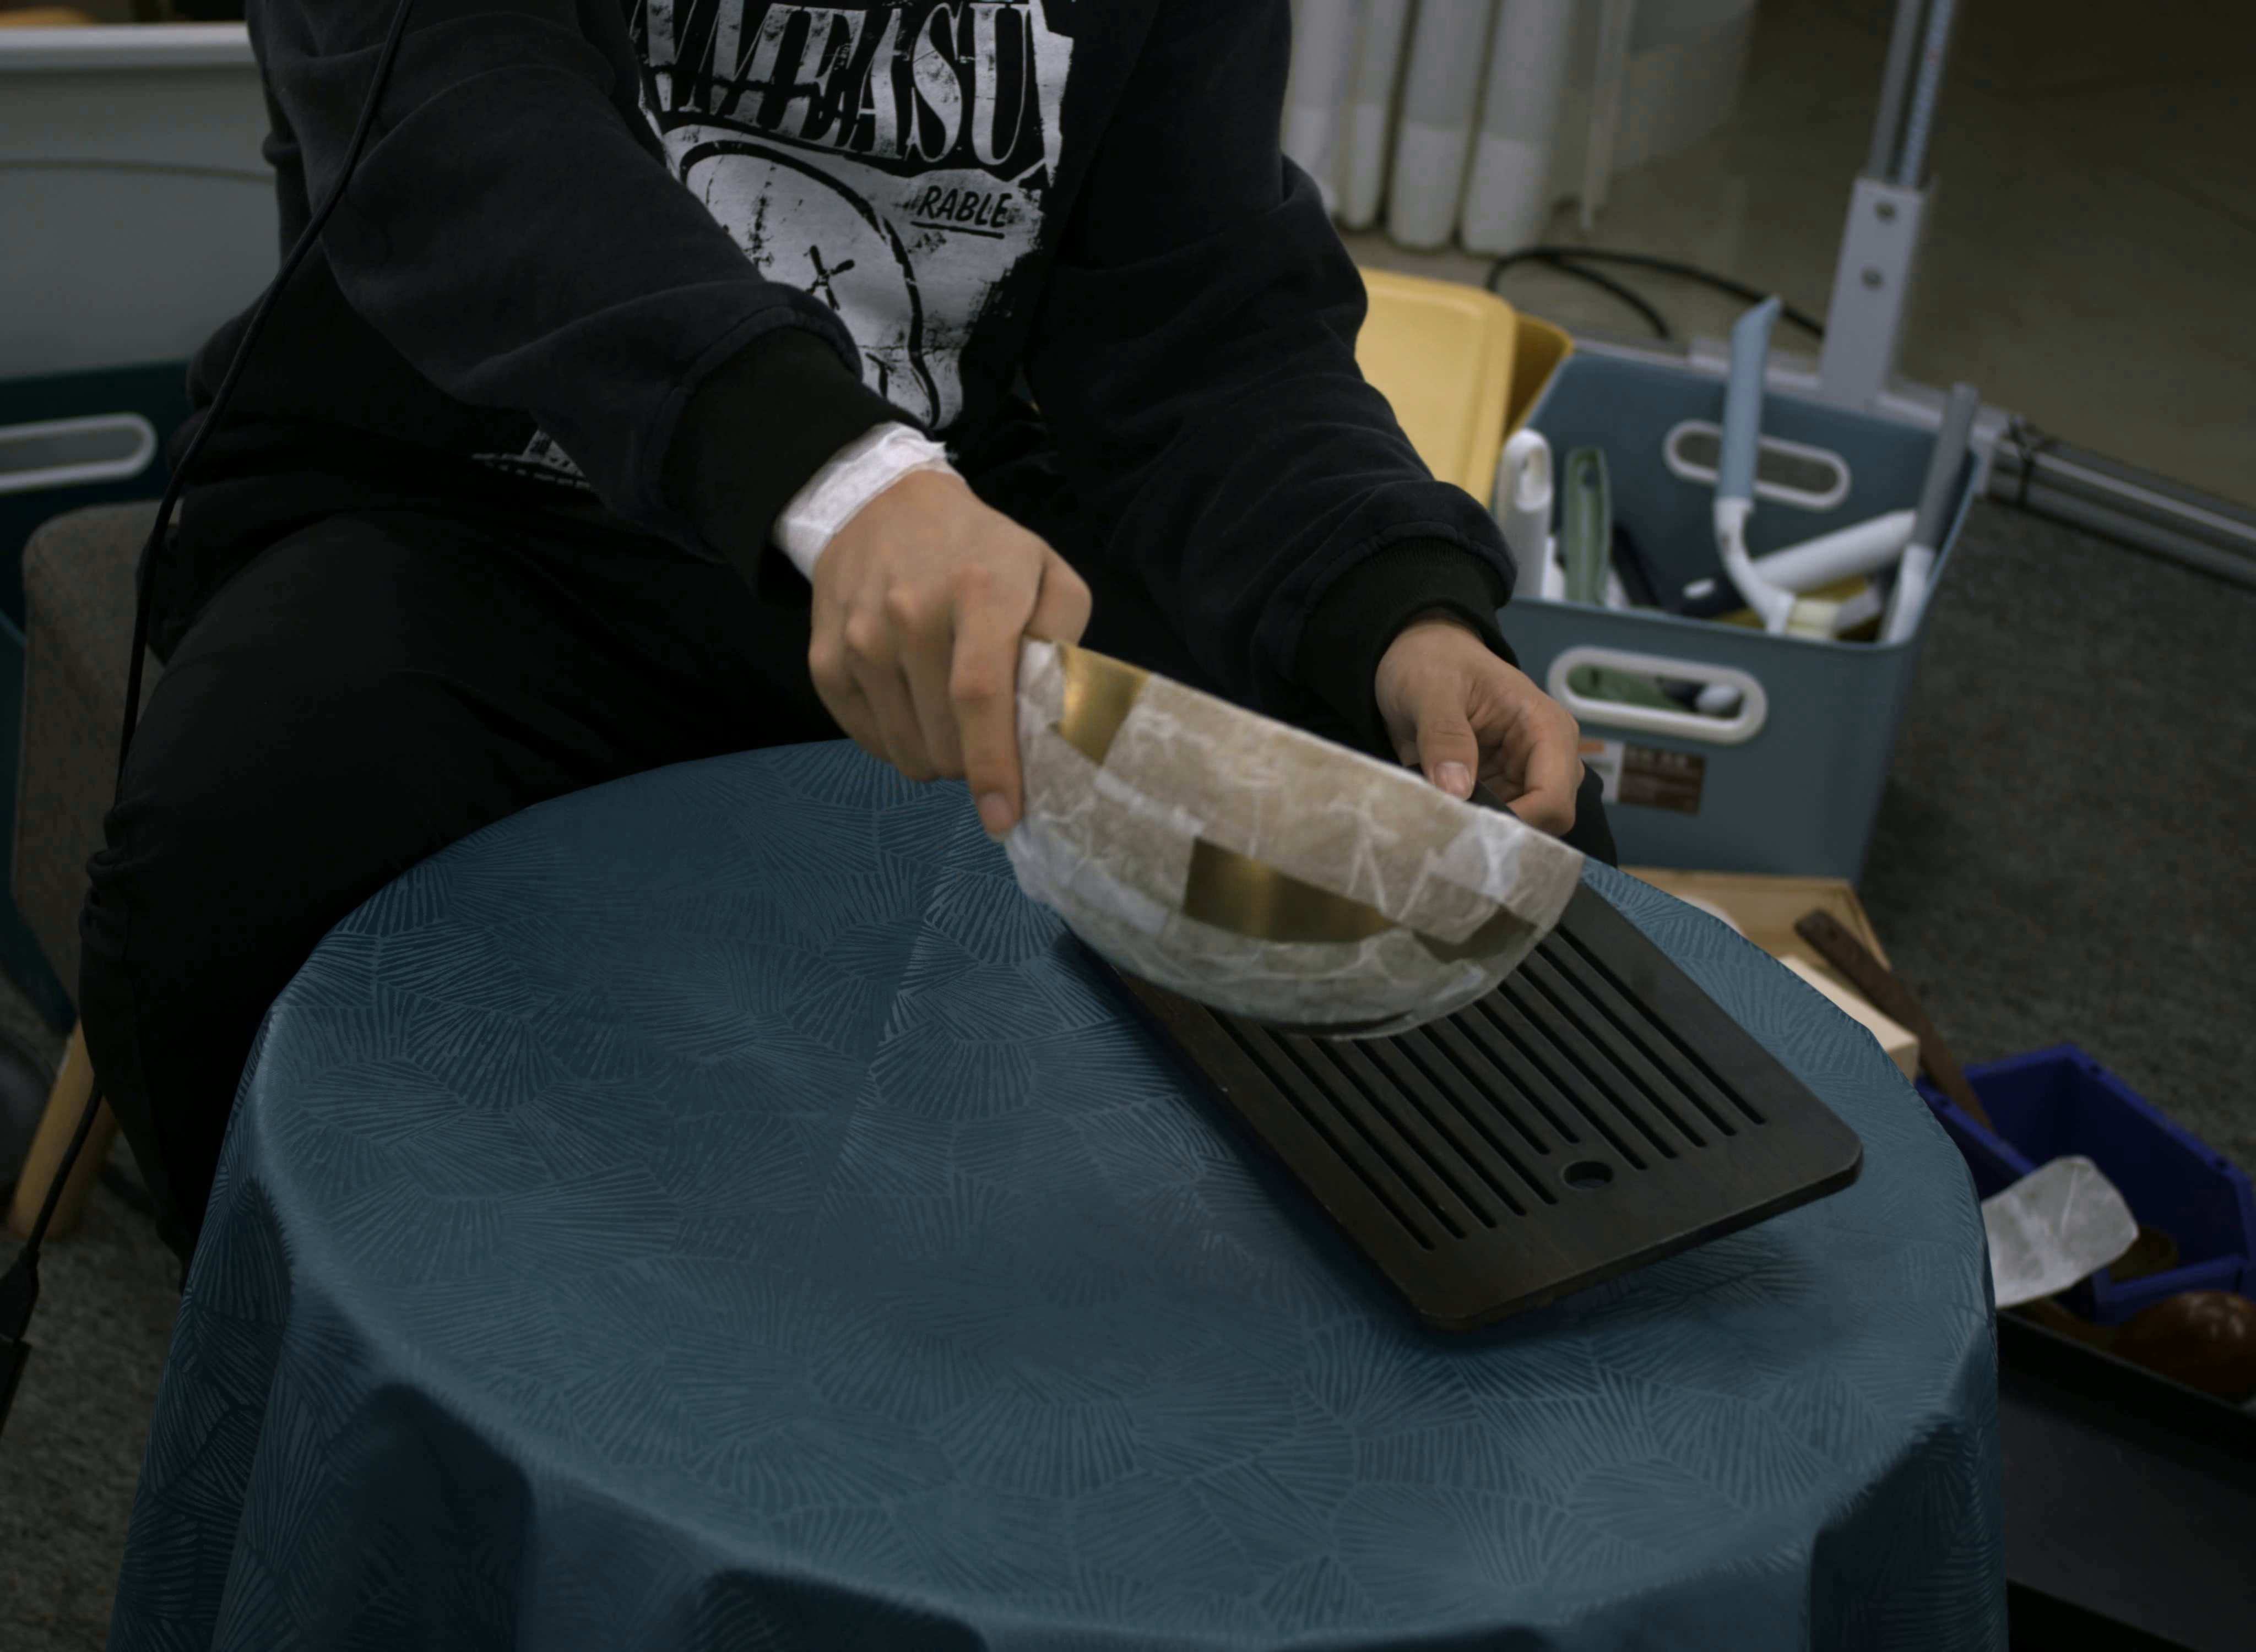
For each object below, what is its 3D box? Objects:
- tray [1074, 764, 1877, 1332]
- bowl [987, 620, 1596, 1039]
[{"bbox_3d":[0.114,0.074,1.866,0.169,0.018,0.309,-19,34,-18],"label":"tray"},{"bbox_3d":[0.039,0.014,1.716,0.214,0.095,0.215,21,0,0],"label":"bowl"}]
